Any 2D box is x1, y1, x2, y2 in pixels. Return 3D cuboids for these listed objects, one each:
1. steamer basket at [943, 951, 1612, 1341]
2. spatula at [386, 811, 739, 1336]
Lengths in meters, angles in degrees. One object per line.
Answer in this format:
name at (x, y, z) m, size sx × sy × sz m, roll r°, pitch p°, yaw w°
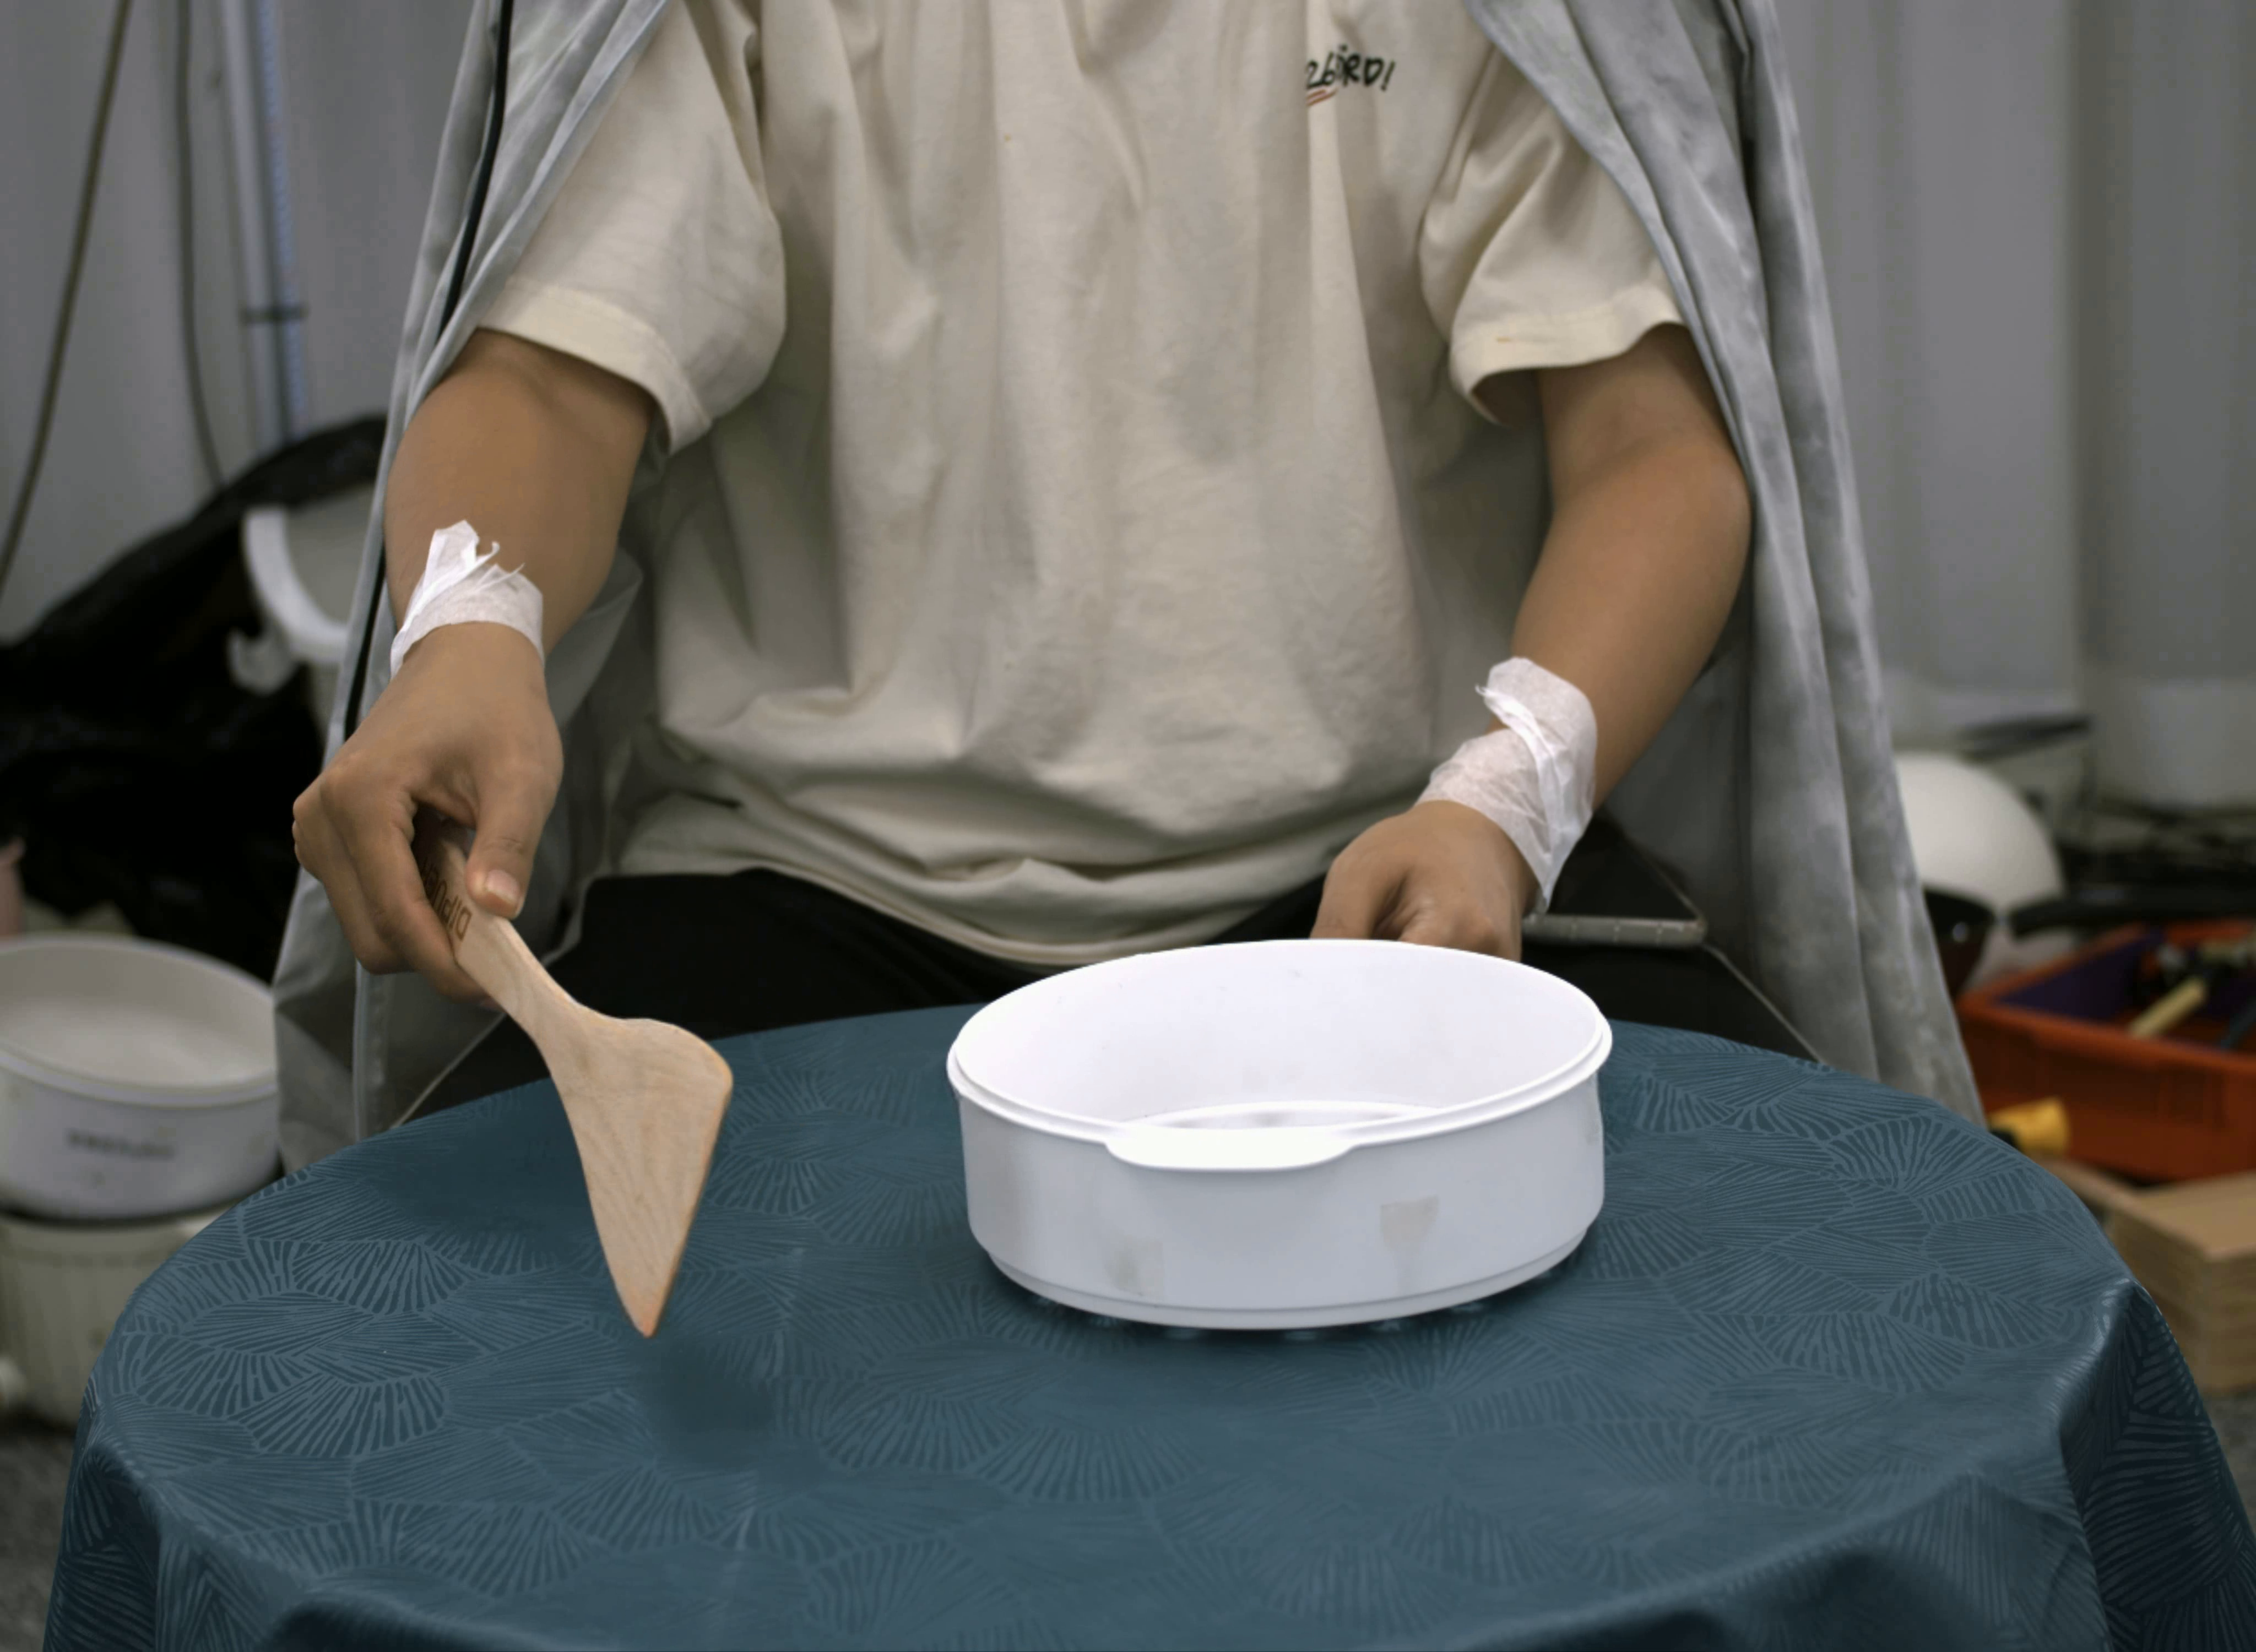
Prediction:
steamer basket at (0.045, 0.096, 1.654) m, size 0.201 × 0.069 × 0.231 m, roll 1°, pitch 15°, yaw 11°
spatula at (-0.177, 0.056, 1.656) m, size 0.016 × 0.080 × 0.331 m, roll 15°, pitch 12°, yaw -29°
